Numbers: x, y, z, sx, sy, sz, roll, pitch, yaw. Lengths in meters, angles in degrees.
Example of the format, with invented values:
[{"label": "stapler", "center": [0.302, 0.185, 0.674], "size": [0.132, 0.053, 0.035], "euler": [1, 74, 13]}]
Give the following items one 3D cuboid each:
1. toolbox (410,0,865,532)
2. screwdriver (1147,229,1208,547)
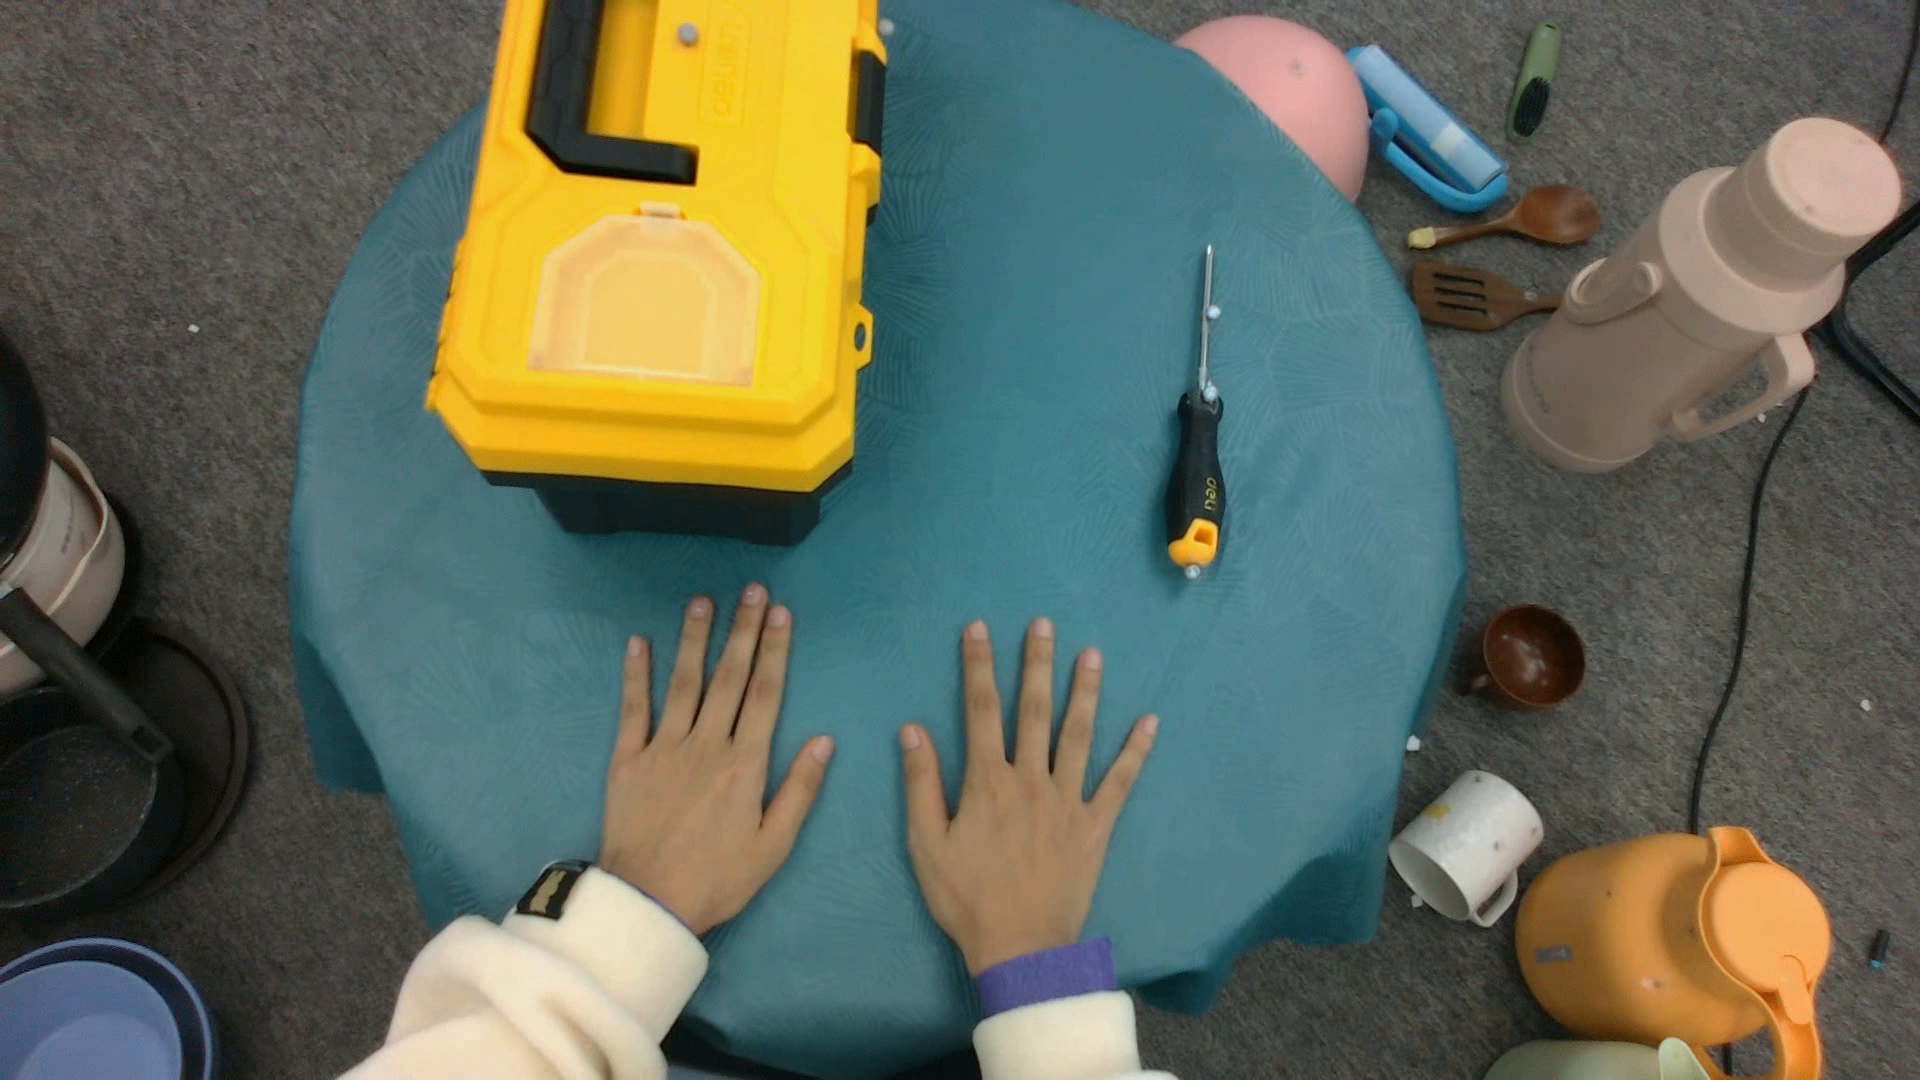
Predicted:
[{"label": "toolbox", "center": [-0.136, -0.182, 0.656], "size": [0.181, 0.172, 0.352], "euler": [4, 69, -6]}, {"label": "screwdriver", "center": [0.121, -0.087, 0.730], "size": [0.031, 0.031, 0.197], "euler": [10, 67, -3]}]
